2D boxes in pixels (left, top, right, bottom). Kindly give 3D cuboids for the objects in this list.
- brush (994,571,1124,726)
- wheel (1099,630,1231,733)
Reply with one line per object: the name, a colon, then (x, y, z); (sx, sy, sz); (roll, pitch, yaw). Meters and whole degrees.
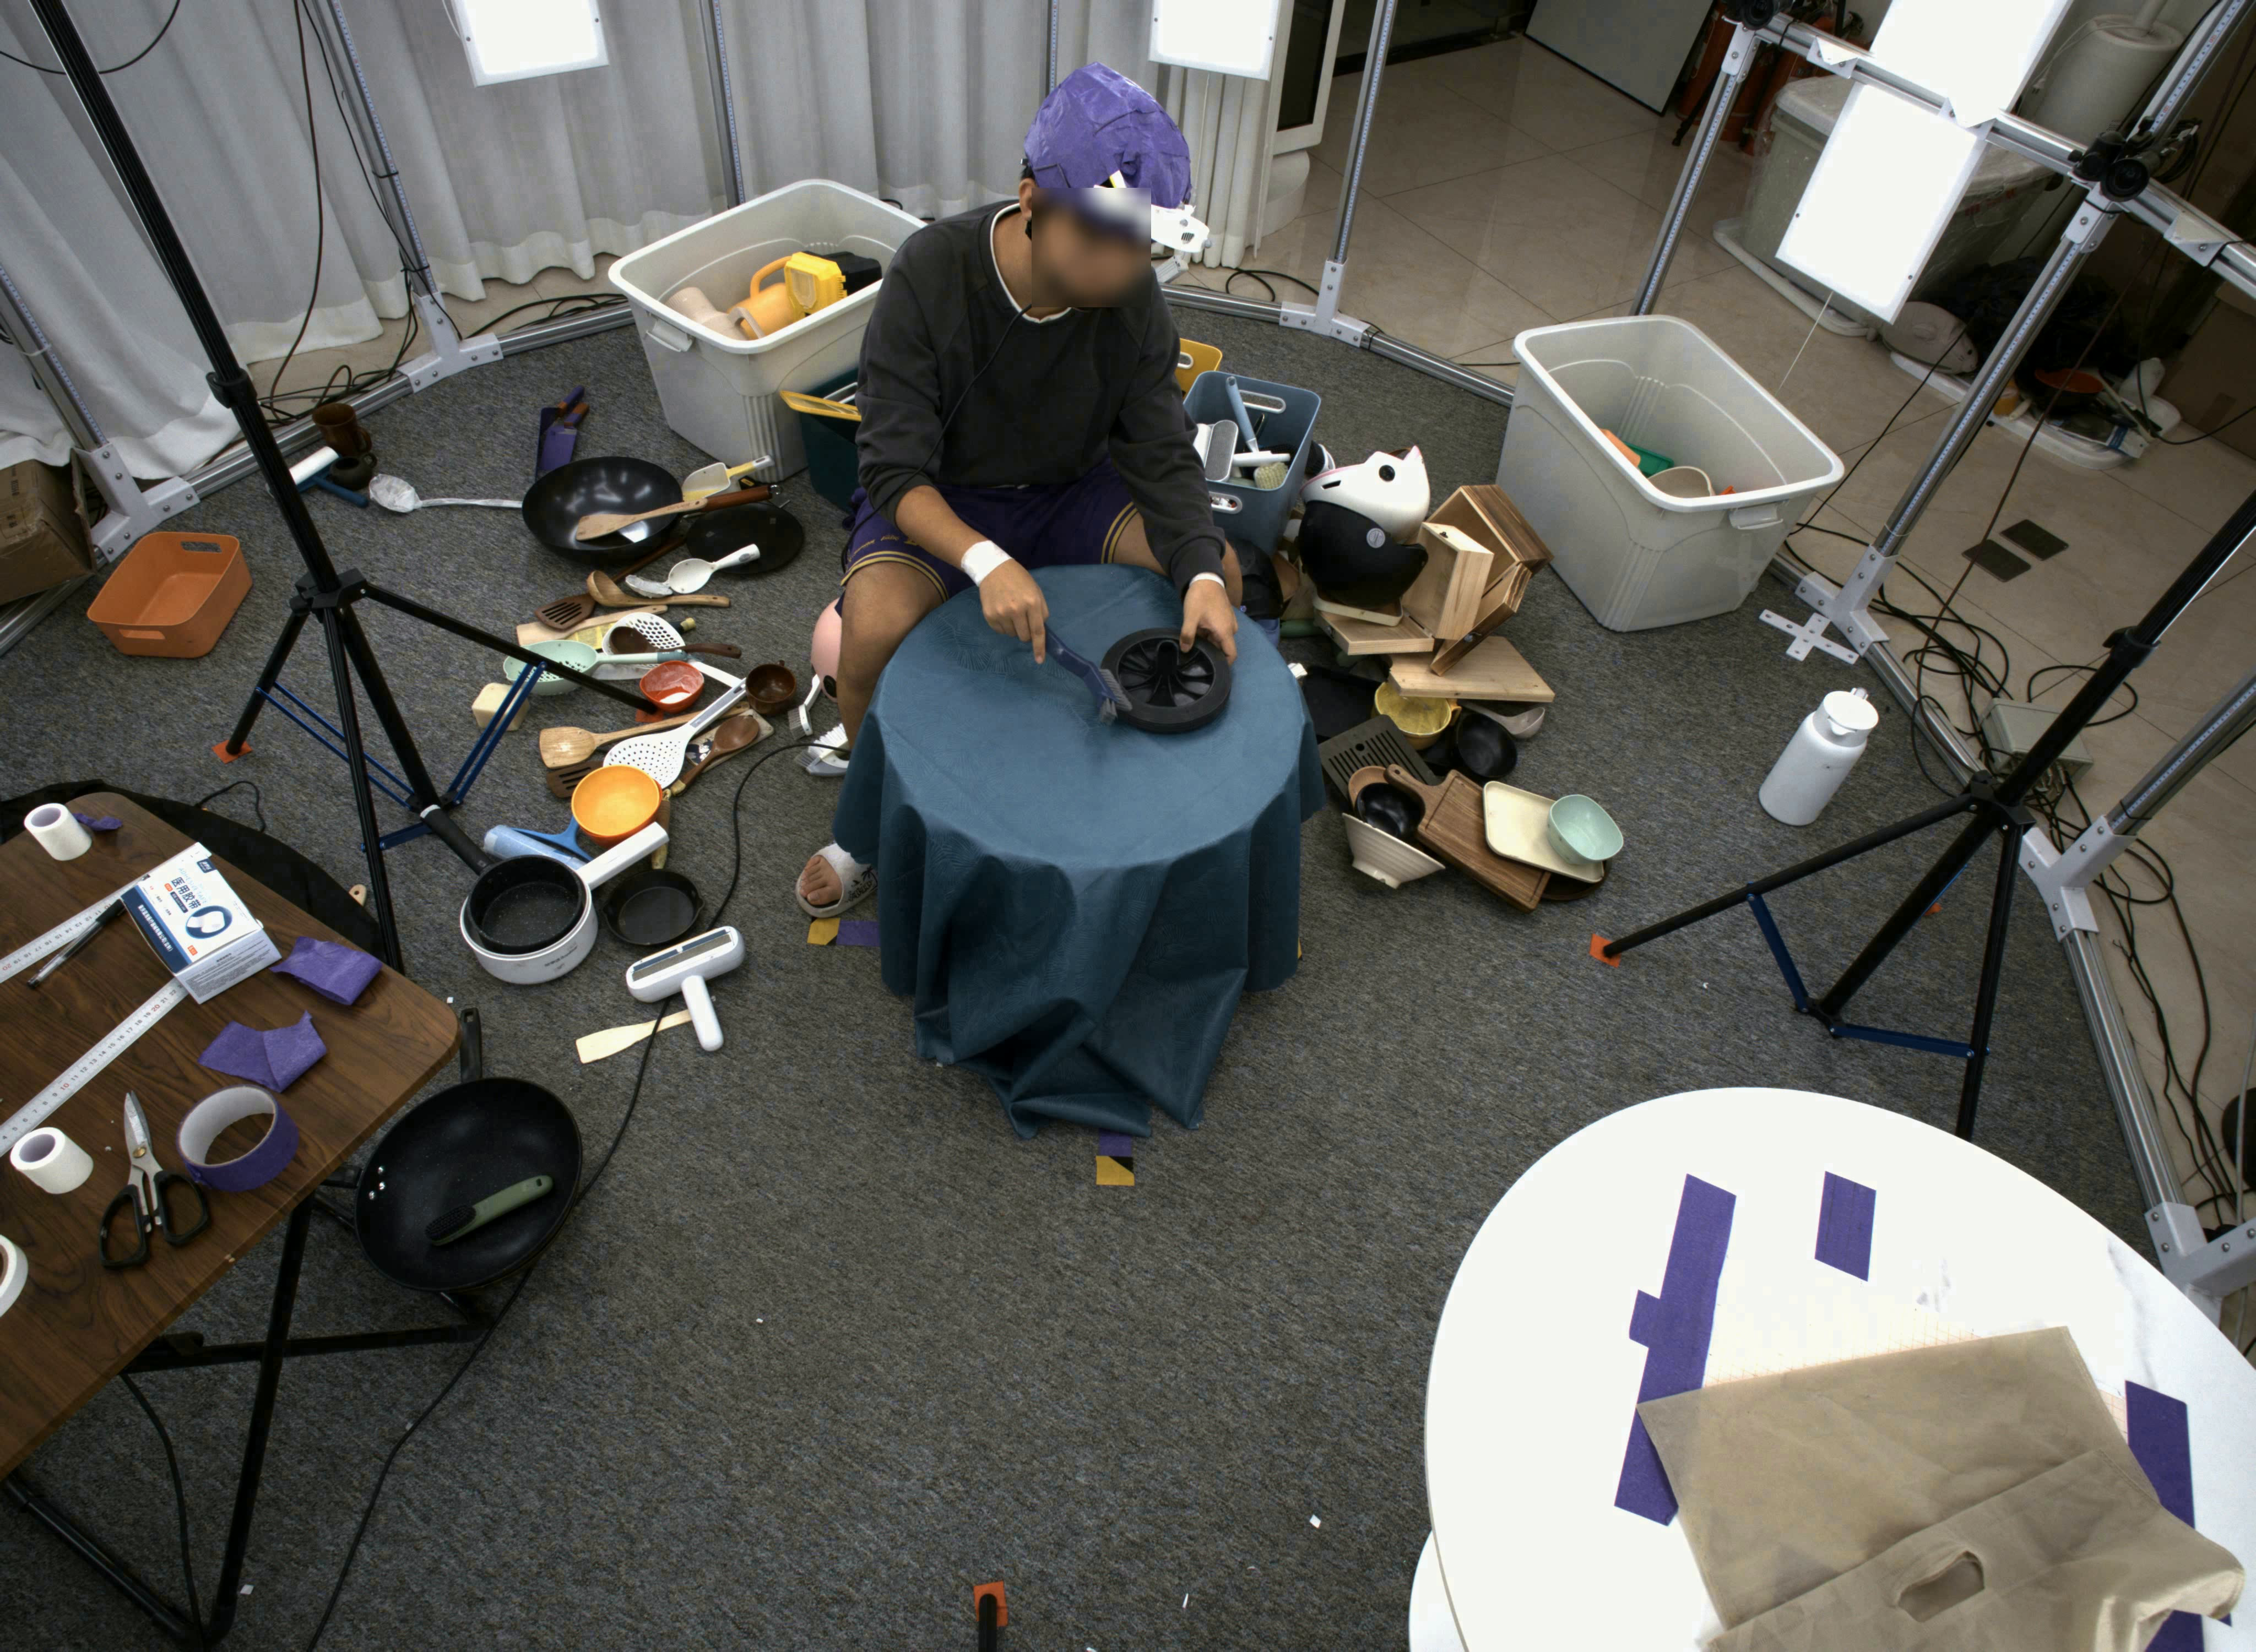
brush: (-0.106, -0.250, 1.782); (0.276, 0.033, 0.096); (44, 38, 14)
wheel: (0.053, -0.221, 1.812); (0.190, 0.077, 0.191); (12, 53, 8)
